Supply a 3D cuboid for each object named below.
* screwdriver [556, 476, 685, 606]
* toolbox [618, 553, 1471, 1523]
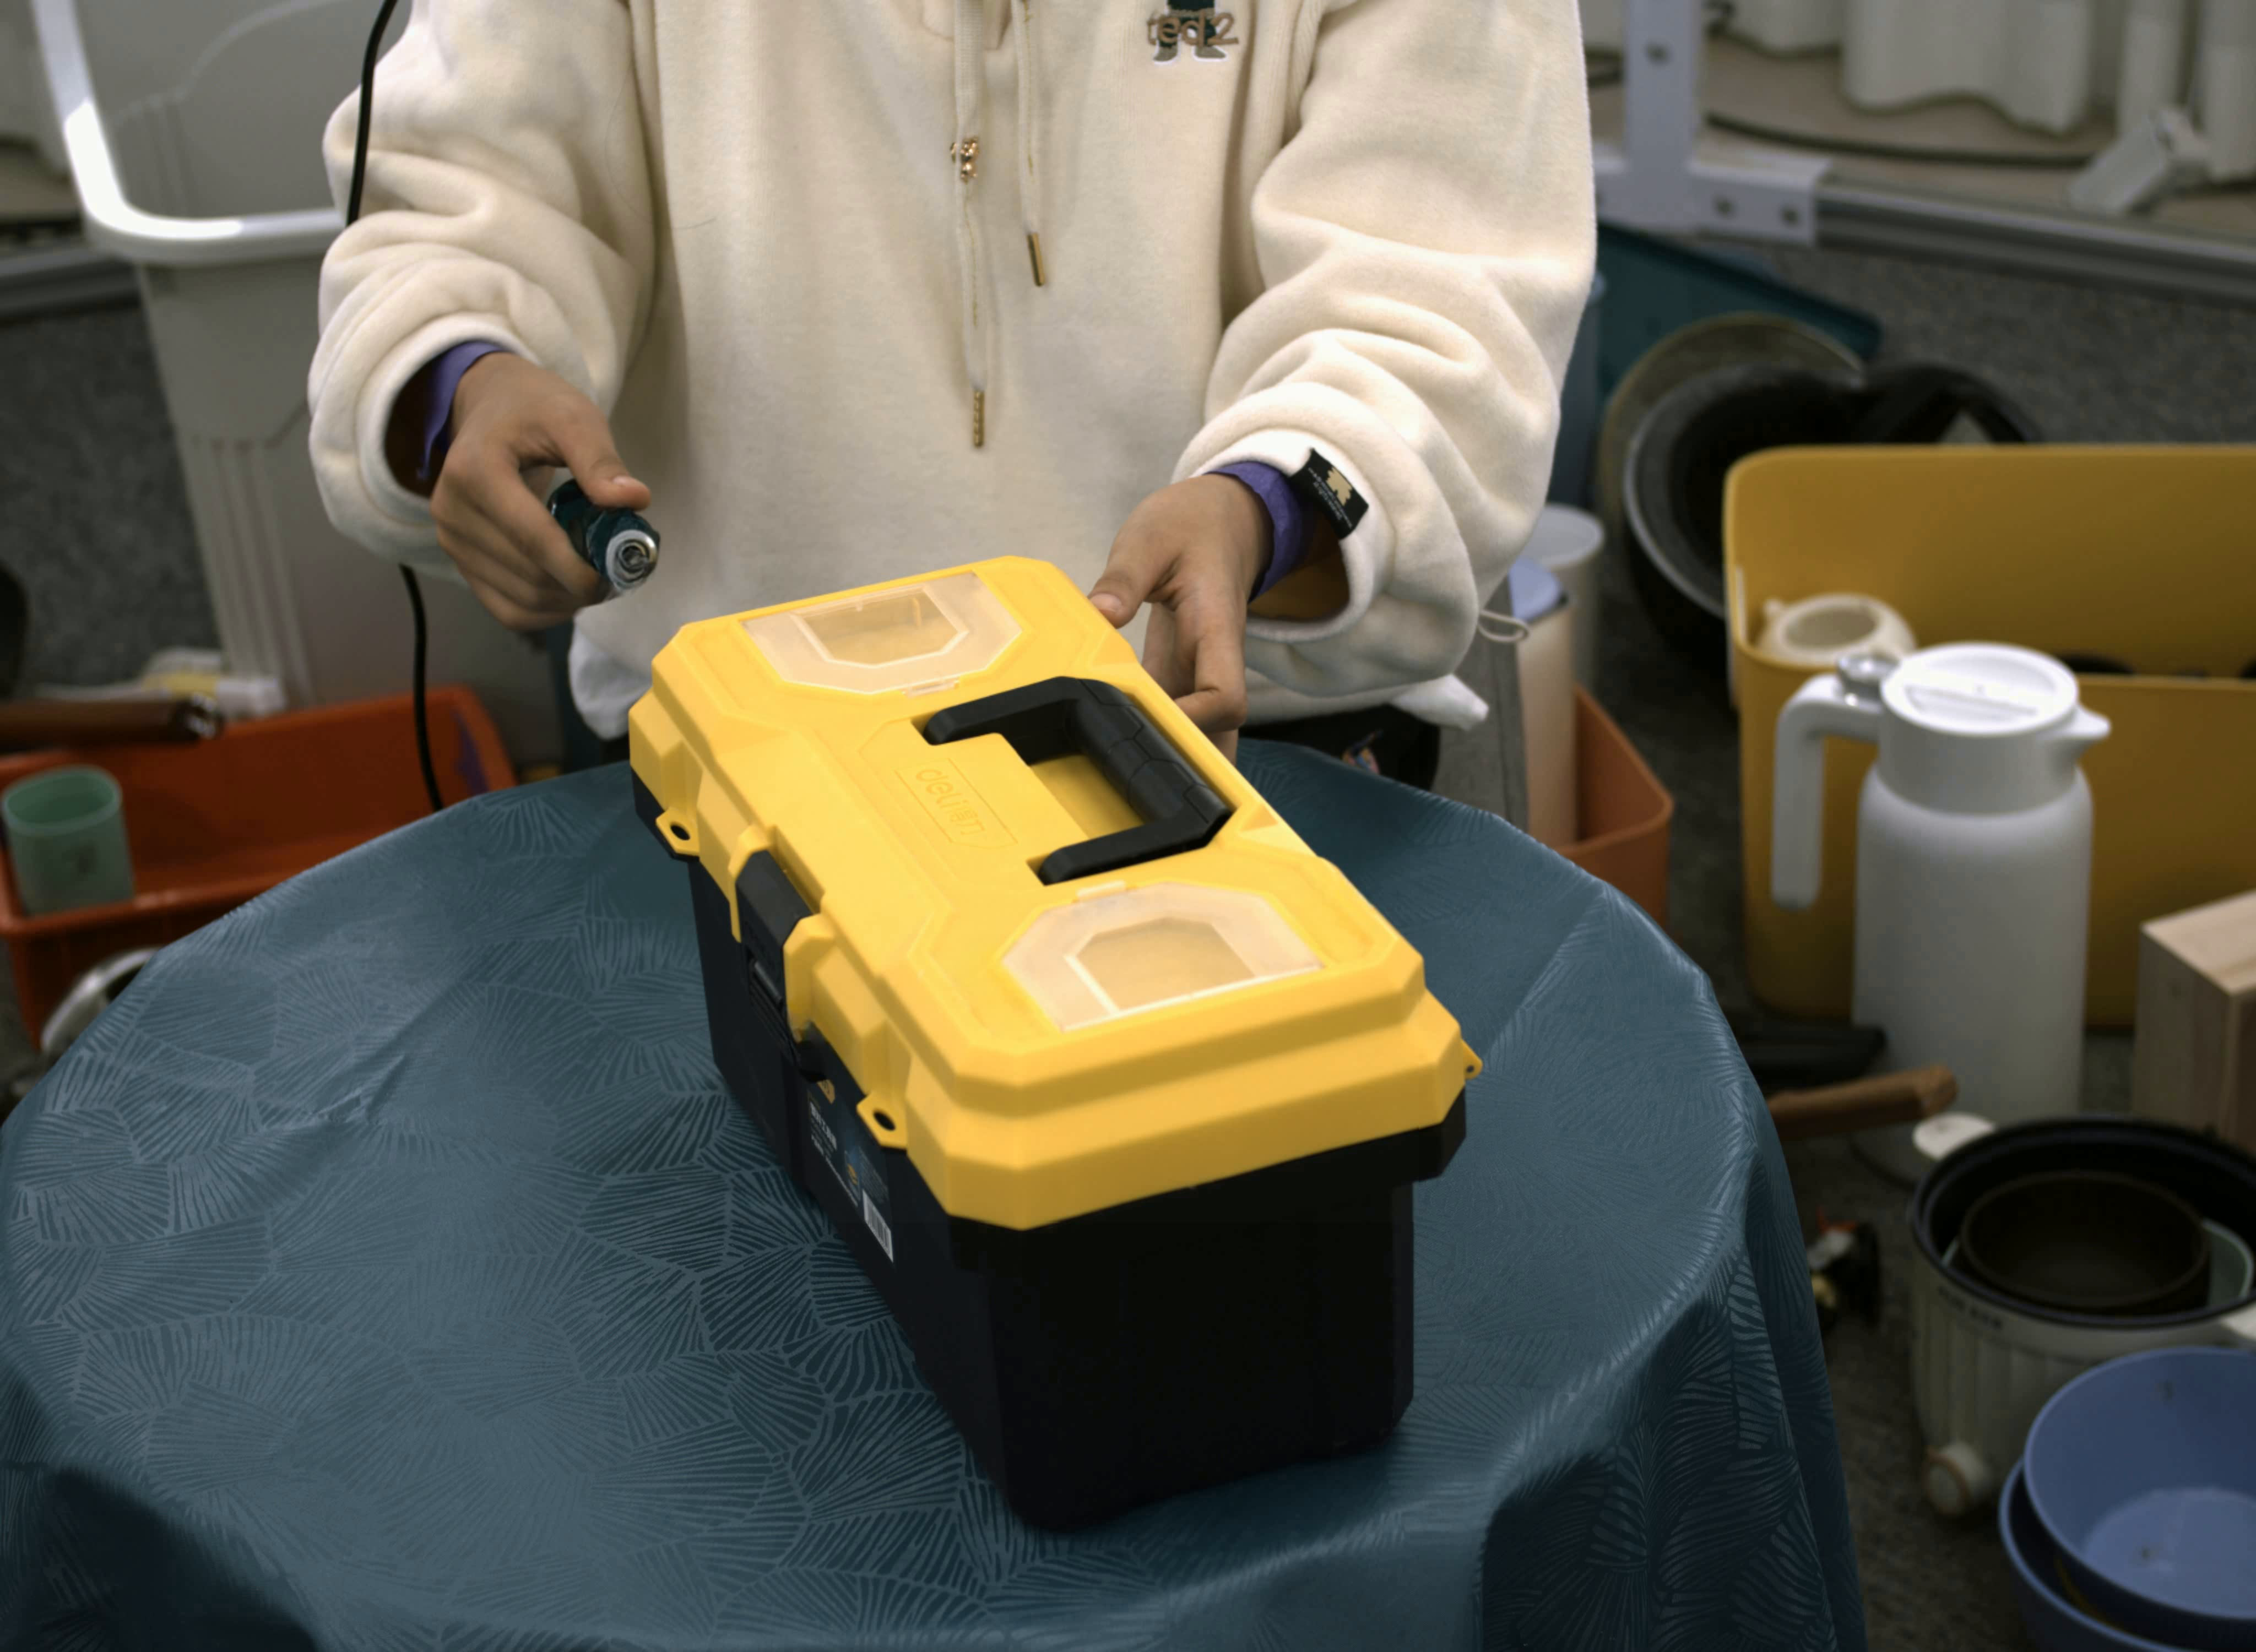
[{"bbox_3d":[-0.174,-0.096,1.983,0.034,0.033,0.190,-9,14,-13],"label":"screwdriver"},{"bbox_3d":[-0.032,0.061,1.796,0.182,0.171,0.354,-12,28,-18],"label":"toolbox"}]
